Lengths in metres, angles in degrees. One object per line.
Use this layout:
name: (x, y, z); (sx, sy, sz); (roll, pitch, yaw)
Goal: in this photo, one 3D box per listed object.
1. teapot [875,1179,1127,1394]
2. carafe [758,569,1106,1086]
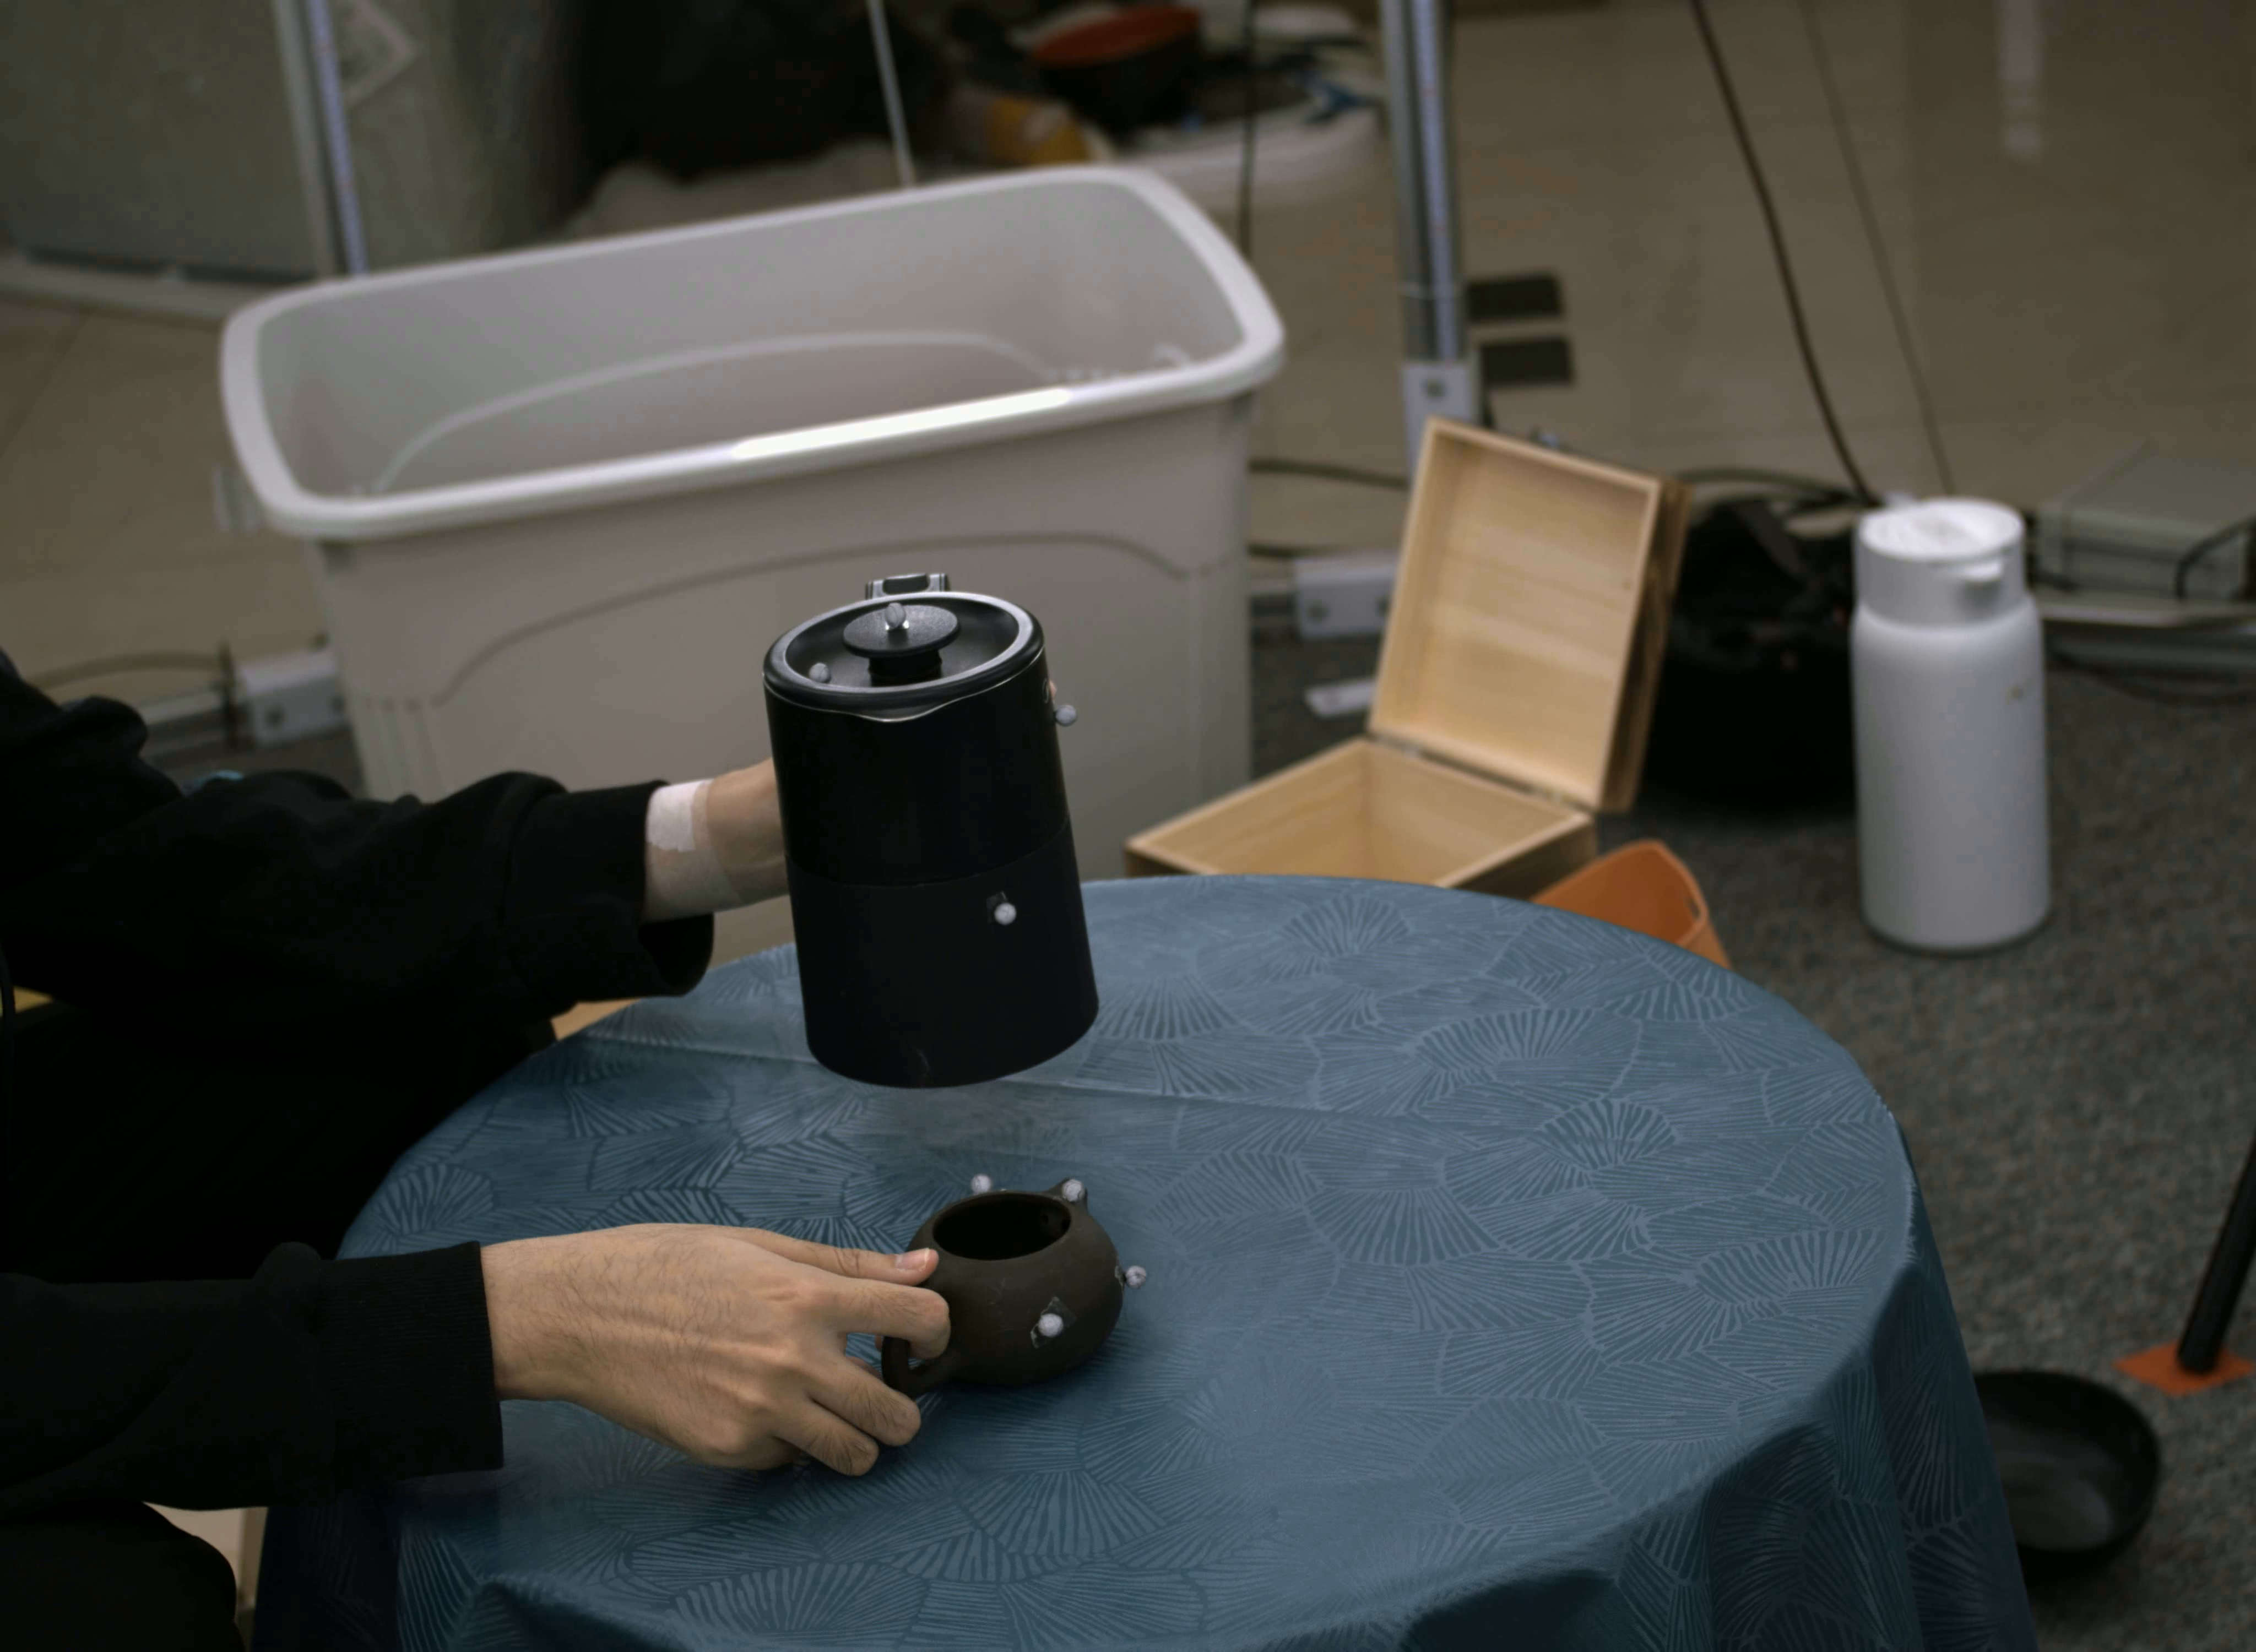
teapot: (-0.050, 0.168, 2.033); (0.082, 0.054, 0.113); (16, 30, 40)
carafe: (-0.078, -0.009, 2.174); (0.114, 0.176, 0.169); (-8, 27, 1)
